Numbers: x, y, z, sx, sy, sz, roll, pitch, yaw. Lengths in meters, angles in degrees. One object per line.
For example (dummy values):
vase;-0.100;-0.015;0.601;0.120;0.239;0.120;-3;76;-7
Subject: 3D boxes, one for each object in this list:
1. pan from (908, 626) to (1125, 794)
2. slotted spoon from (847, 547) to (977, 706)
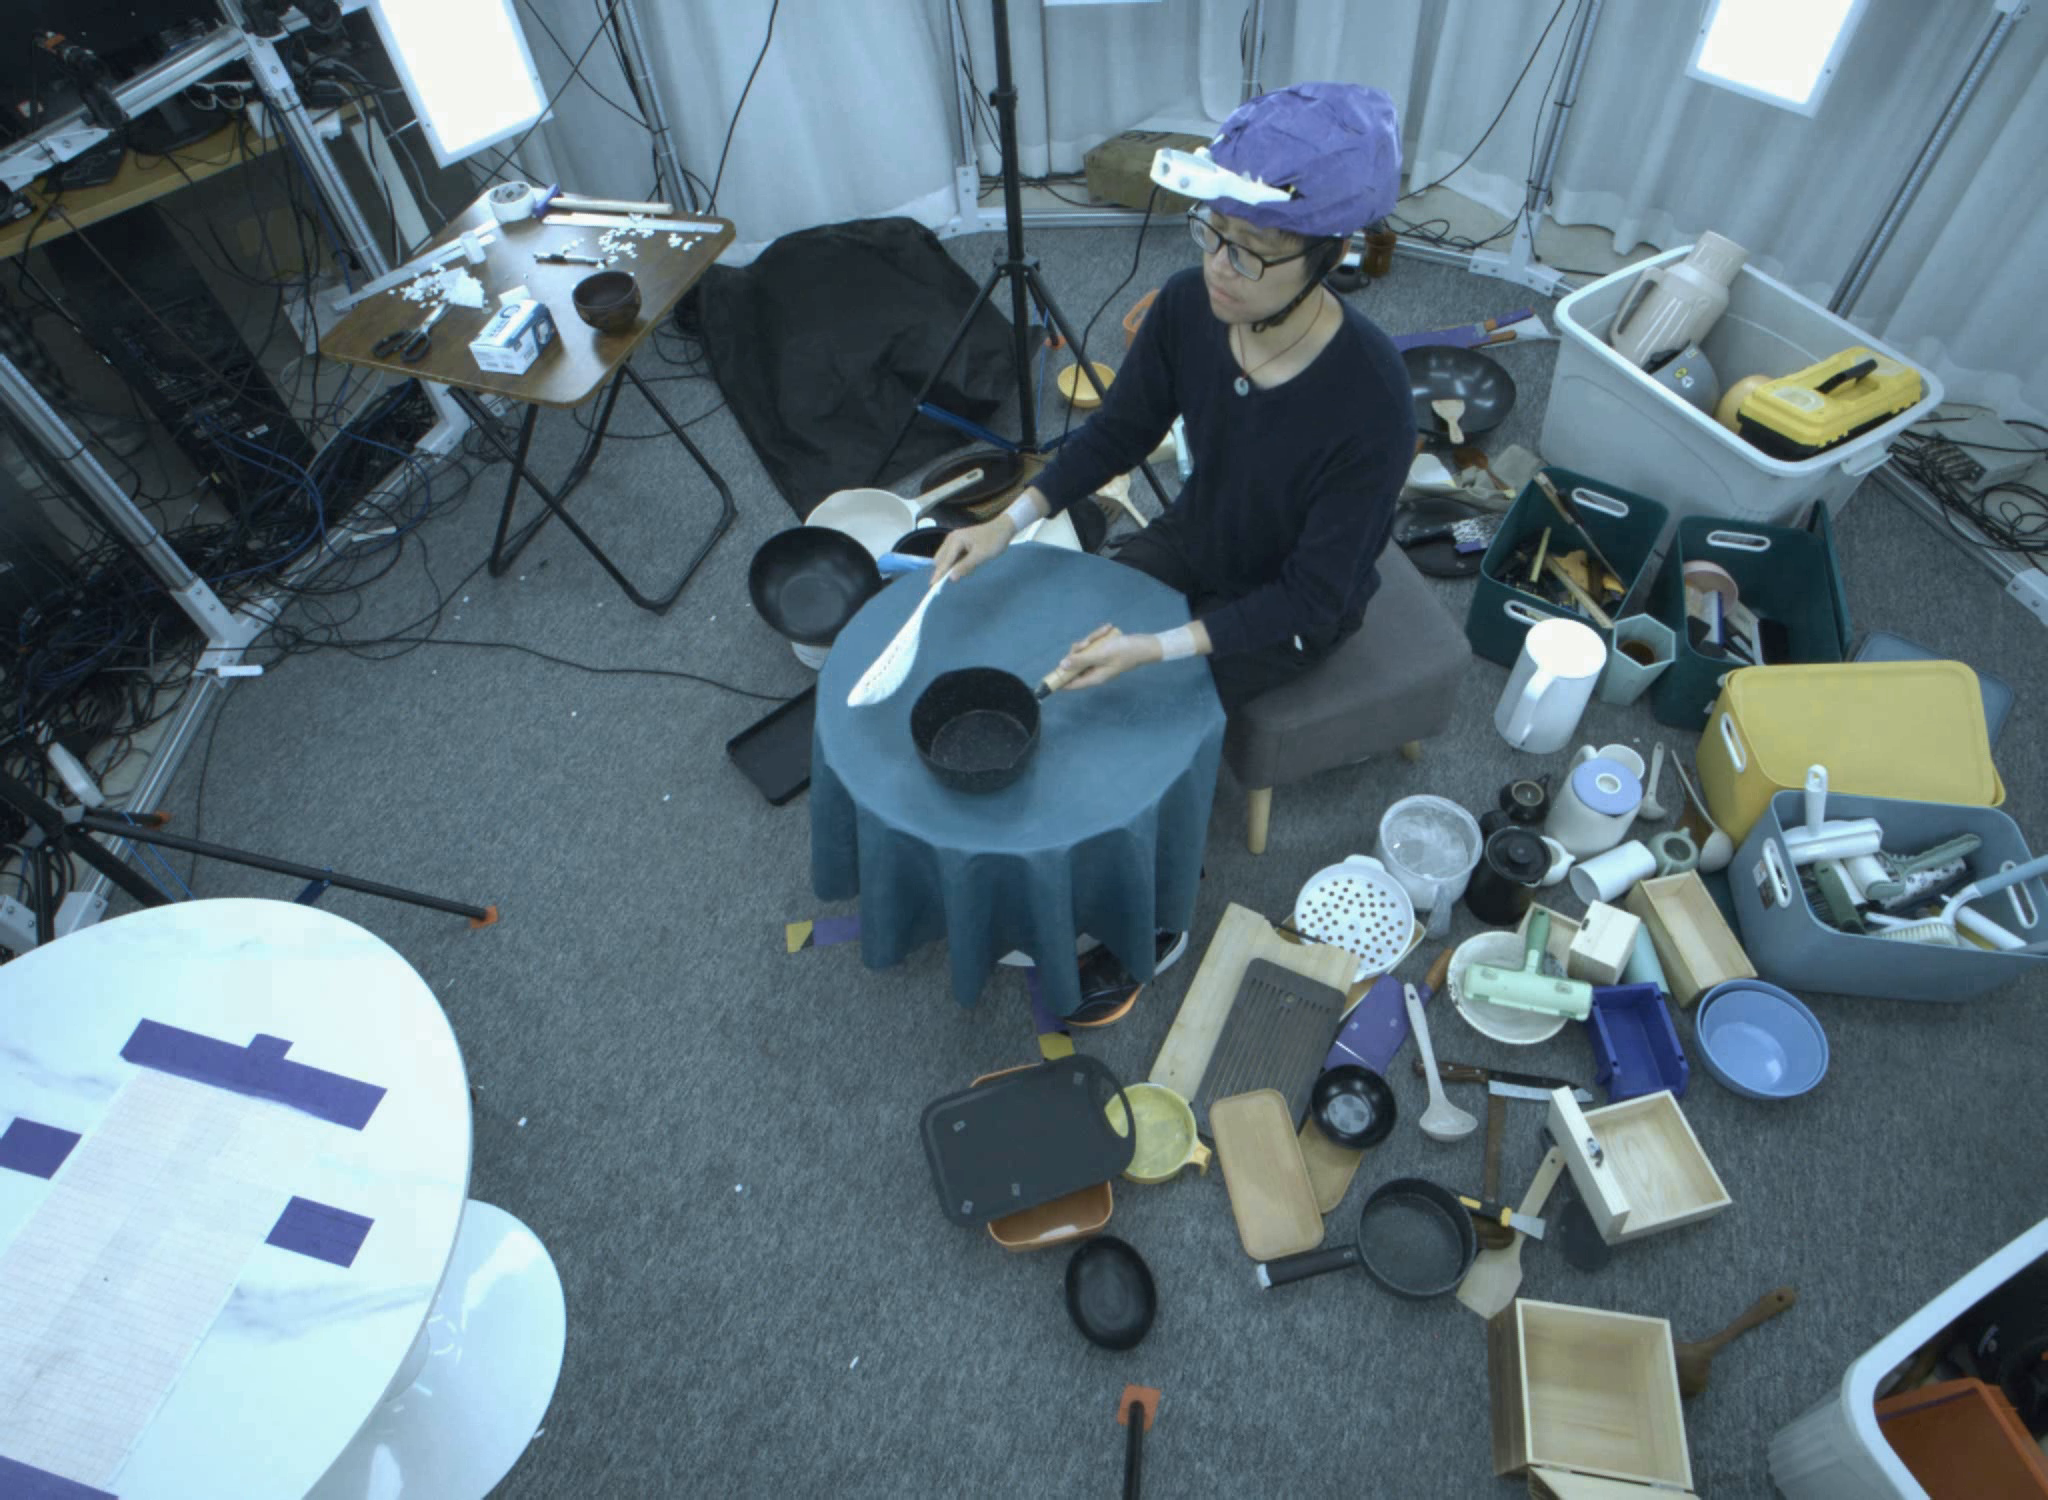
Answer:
pan;-0.001;-0.067;1.764;0.345;0.109;0.203;-30;58;-14
slotted spoon;-0.156;-0.194;1.817;0.051;0.135;0.347;34;59;-15
